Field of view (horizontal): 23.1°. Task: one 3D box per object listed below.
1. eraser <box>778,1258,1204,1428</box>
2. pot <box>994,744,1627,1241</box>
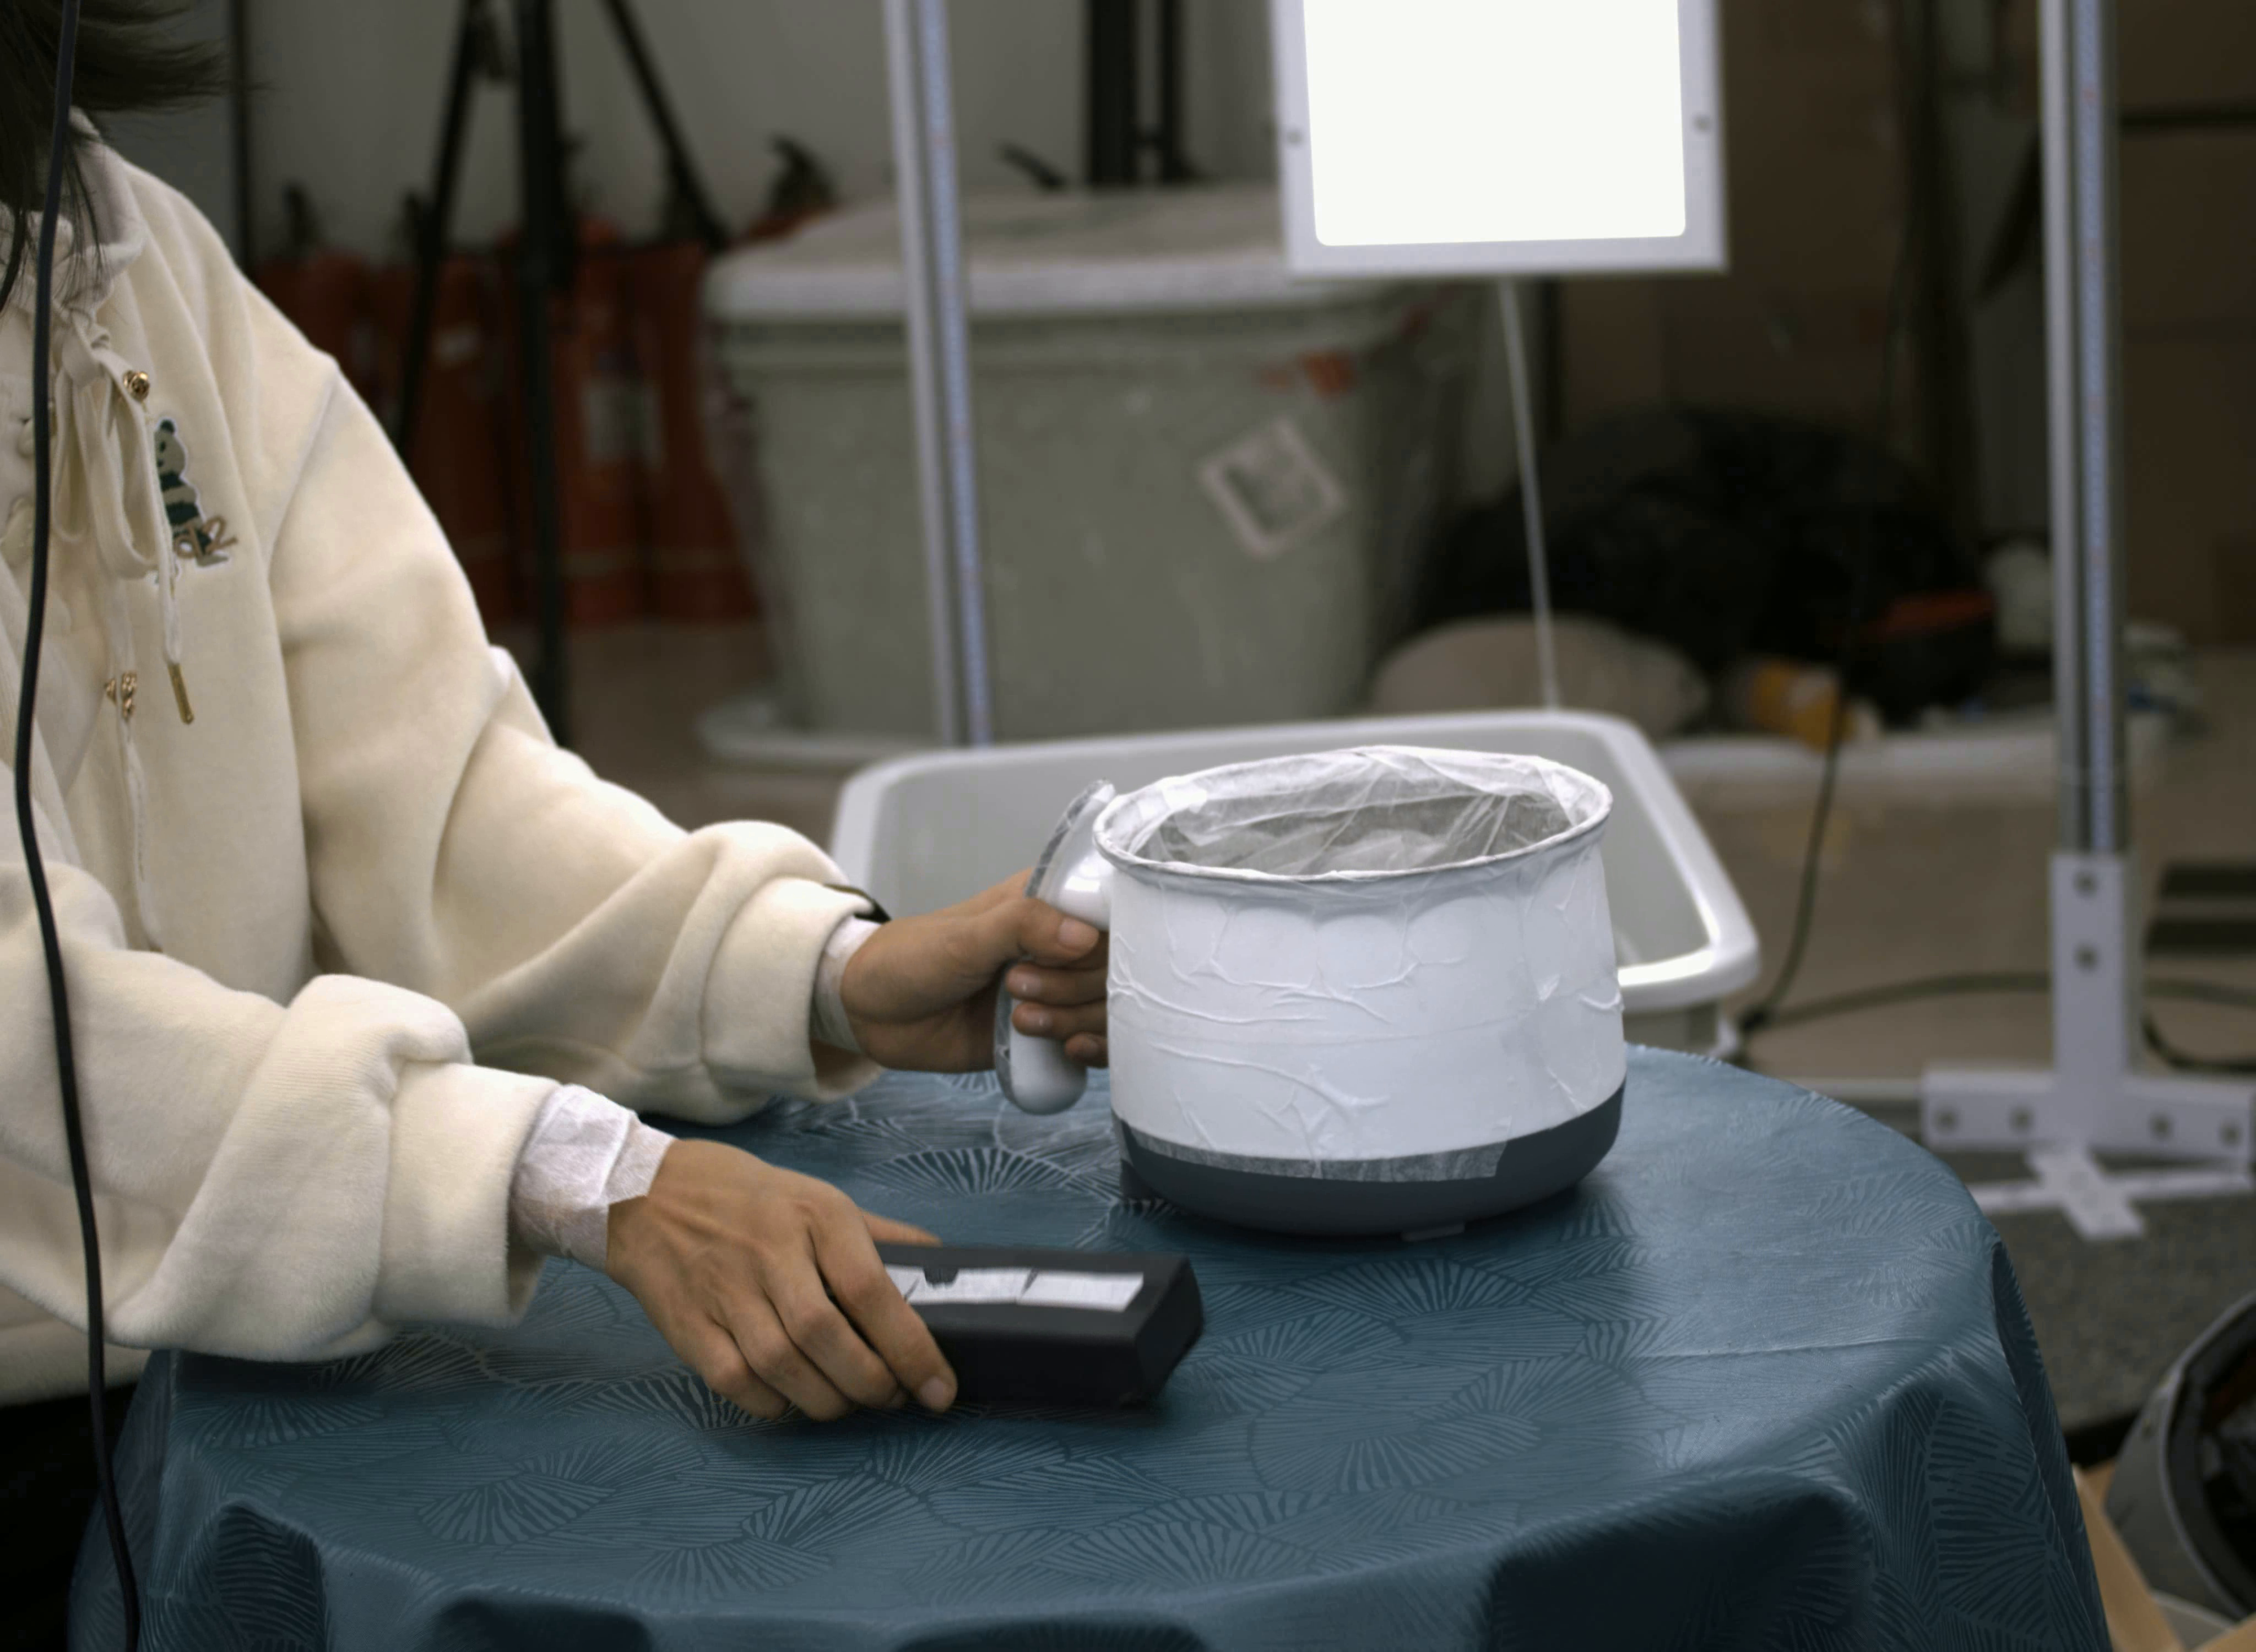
[{"bbox_3d":[-0.041,0.158,1.699,0.127,0.030,0.052,1,26,27],"label":"eraser"},{"bbox_3d":[0.056,0.053,1.881,0.238,0.137,0.174,4,16,30],"label":"pot"}]
